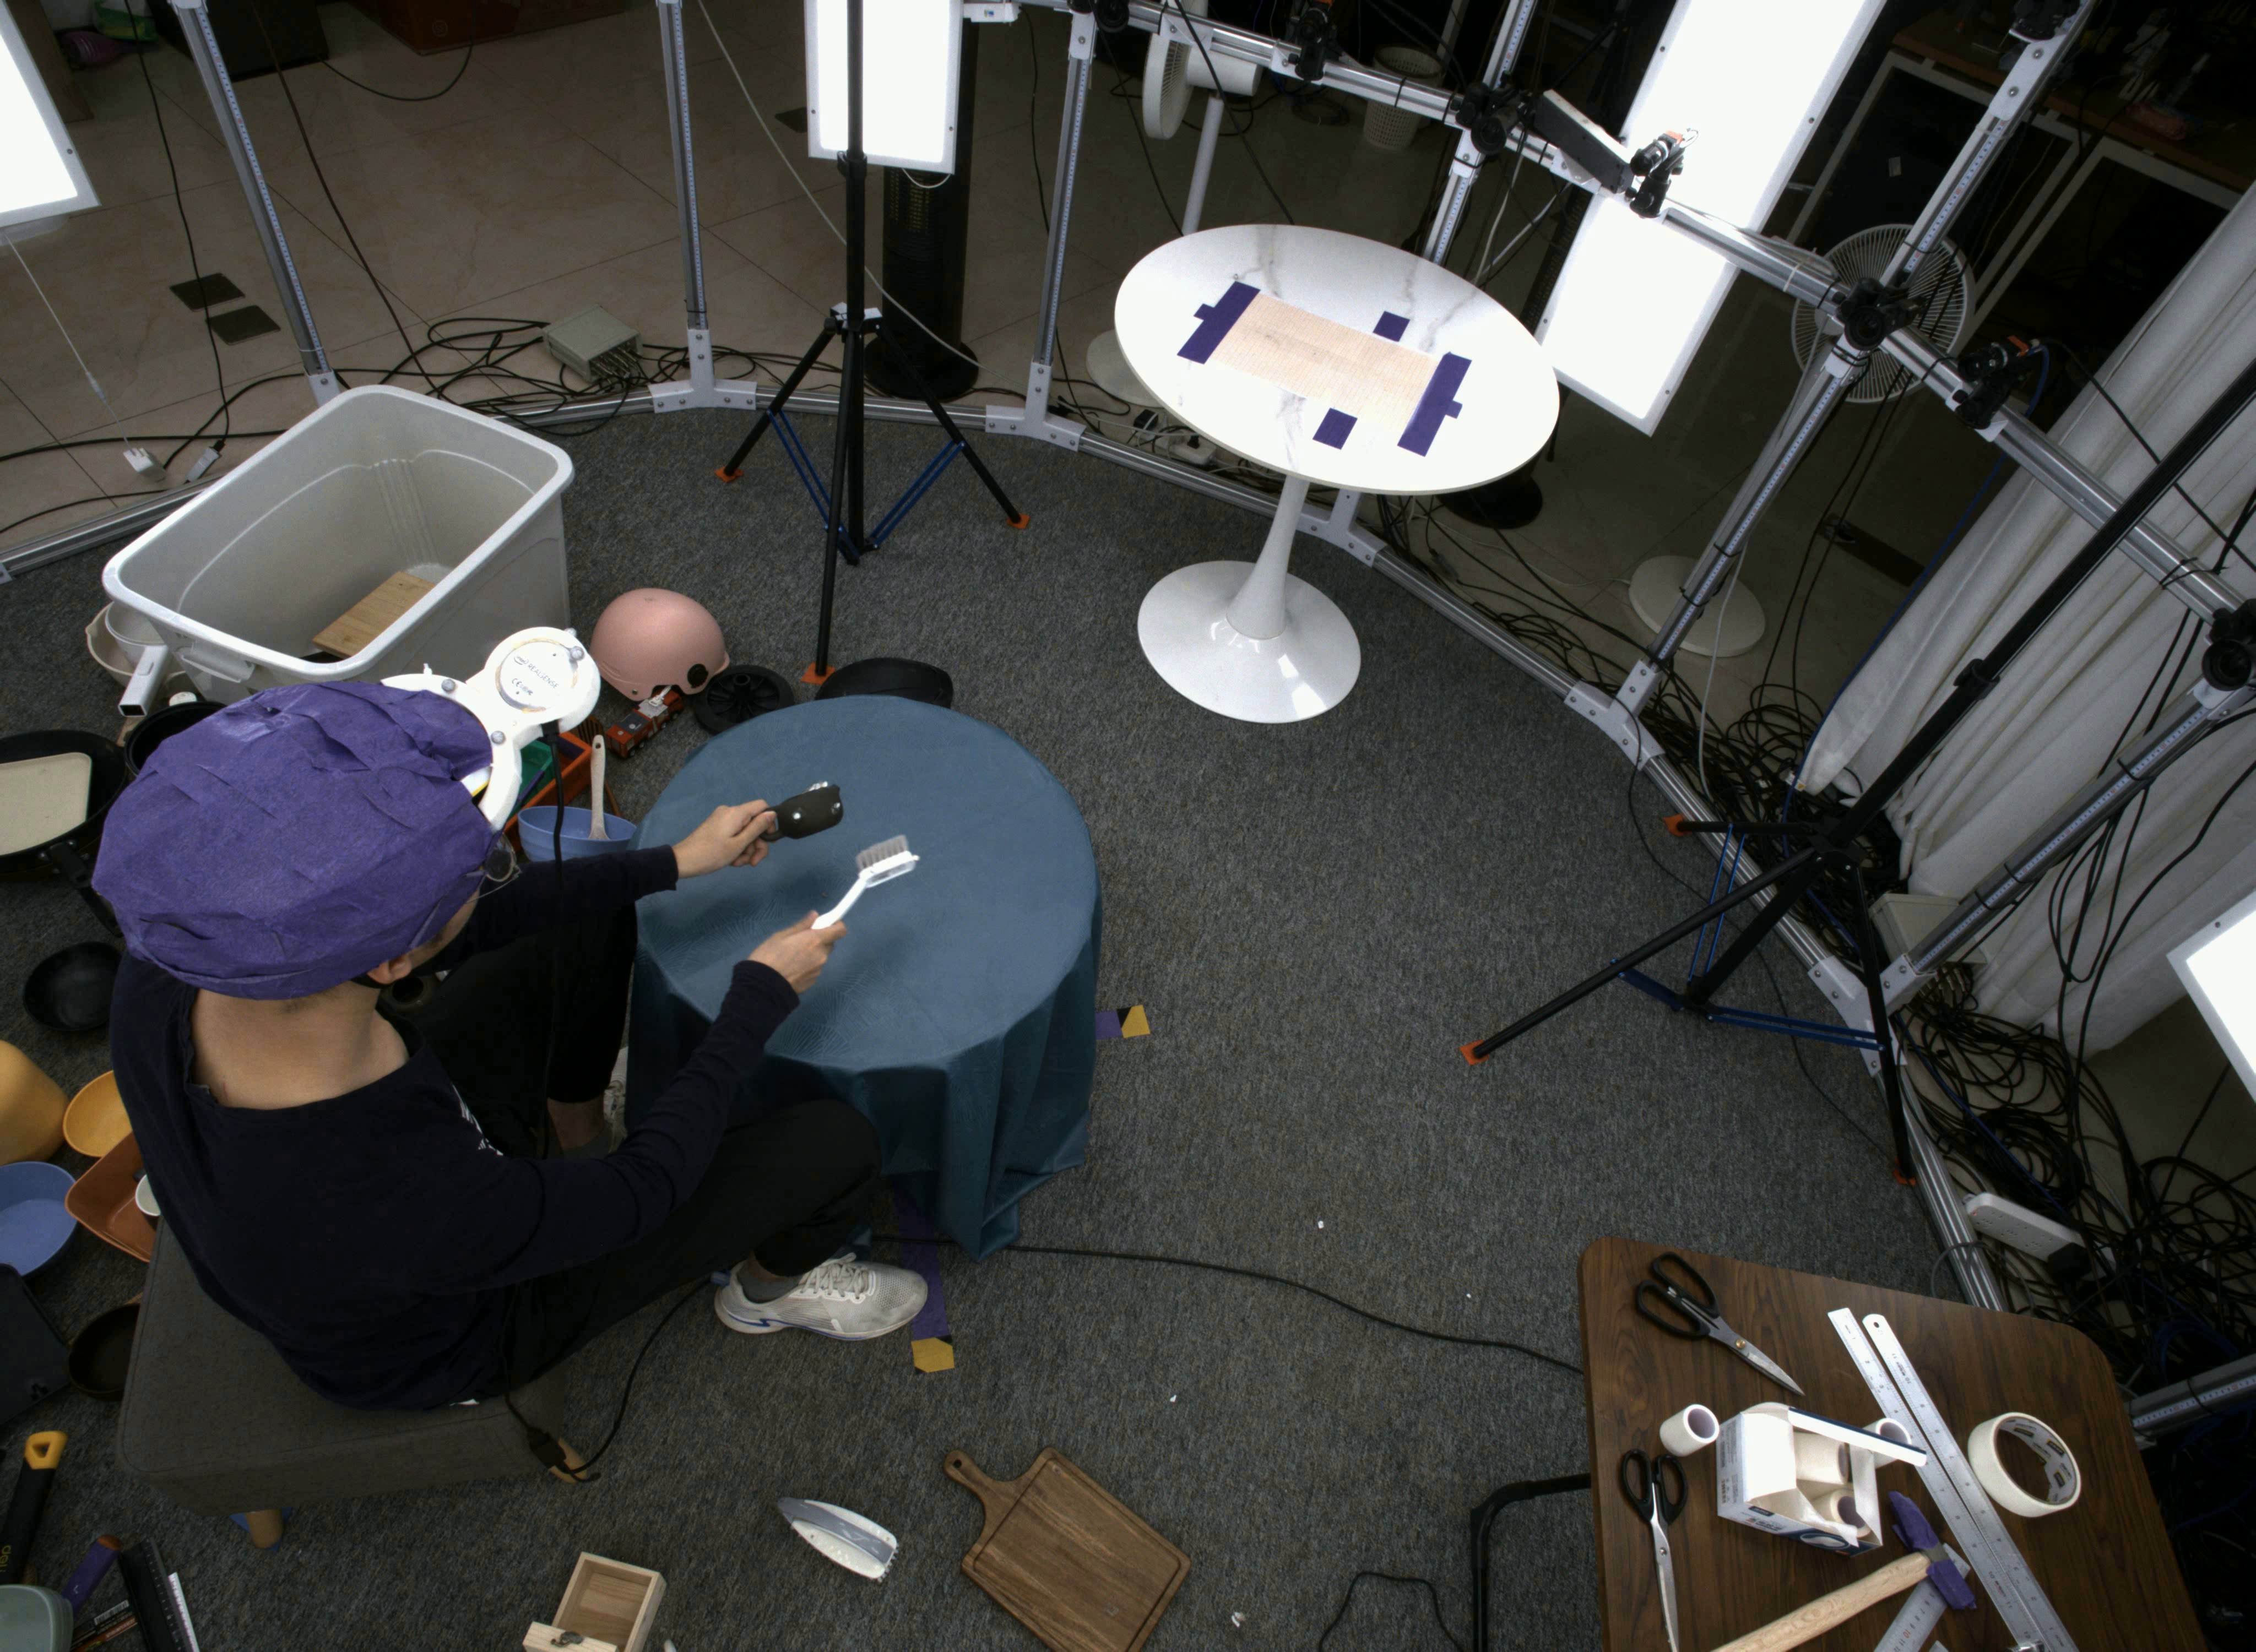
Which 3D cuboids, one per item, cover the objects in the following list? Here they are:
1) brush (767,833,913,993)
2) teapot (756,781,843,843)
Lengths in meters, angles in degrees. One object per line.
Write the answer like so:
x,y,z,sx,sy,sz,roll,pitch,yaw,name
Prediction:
-0.352,0.098,1.552,0.049,0.035,0.243,37,68,17,brush
-0.407,-0.014,1.608,0.114,0.081,0.054,-23,100,-21,teapot
